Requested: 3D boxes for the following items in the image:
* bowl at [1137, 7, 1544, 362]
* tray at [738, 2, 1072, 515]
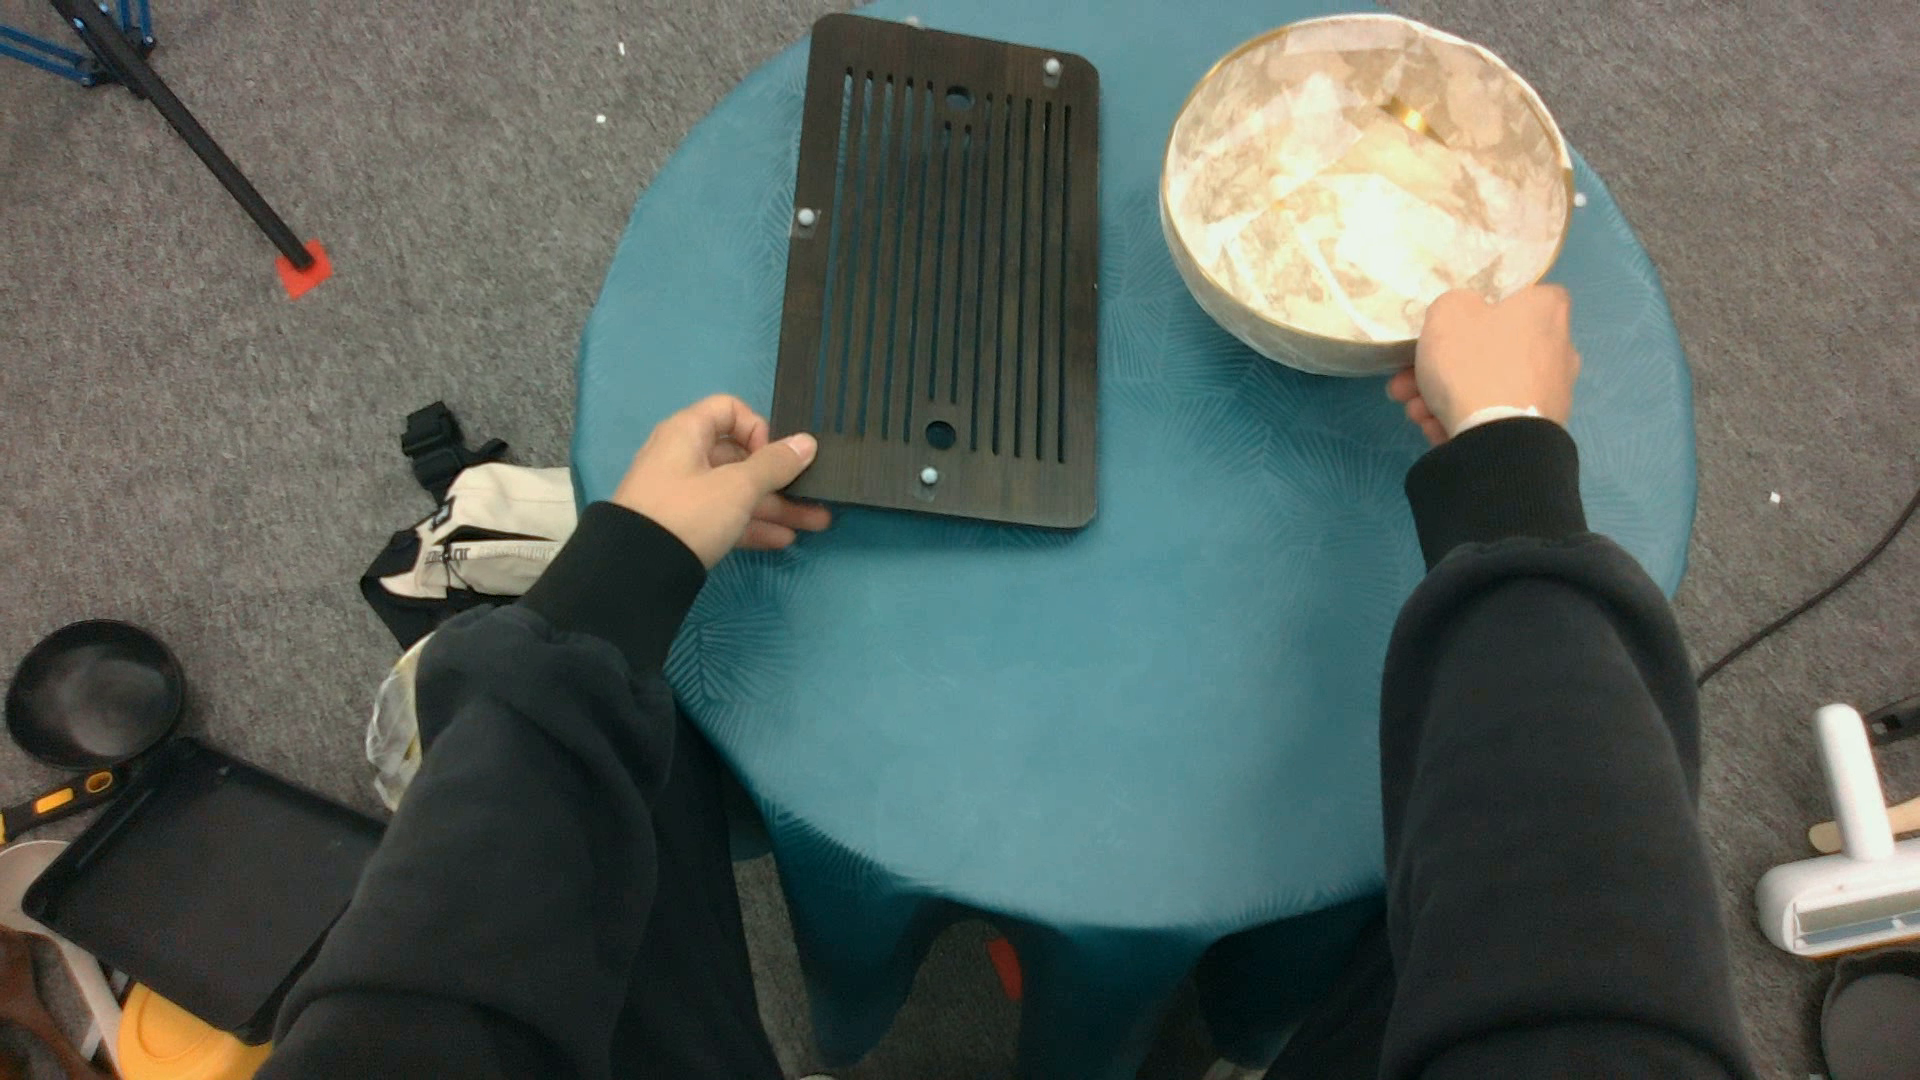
[{"bbox_3d":[0.189,-0.172,0.729,0.214,0.094,0.215,0,66,1],"label":"bowl"},{"bbox_3d":[-0.023,-0.159,0.749,0.170,0.018,0.307,7,66,-10],"label":"tray"}]
